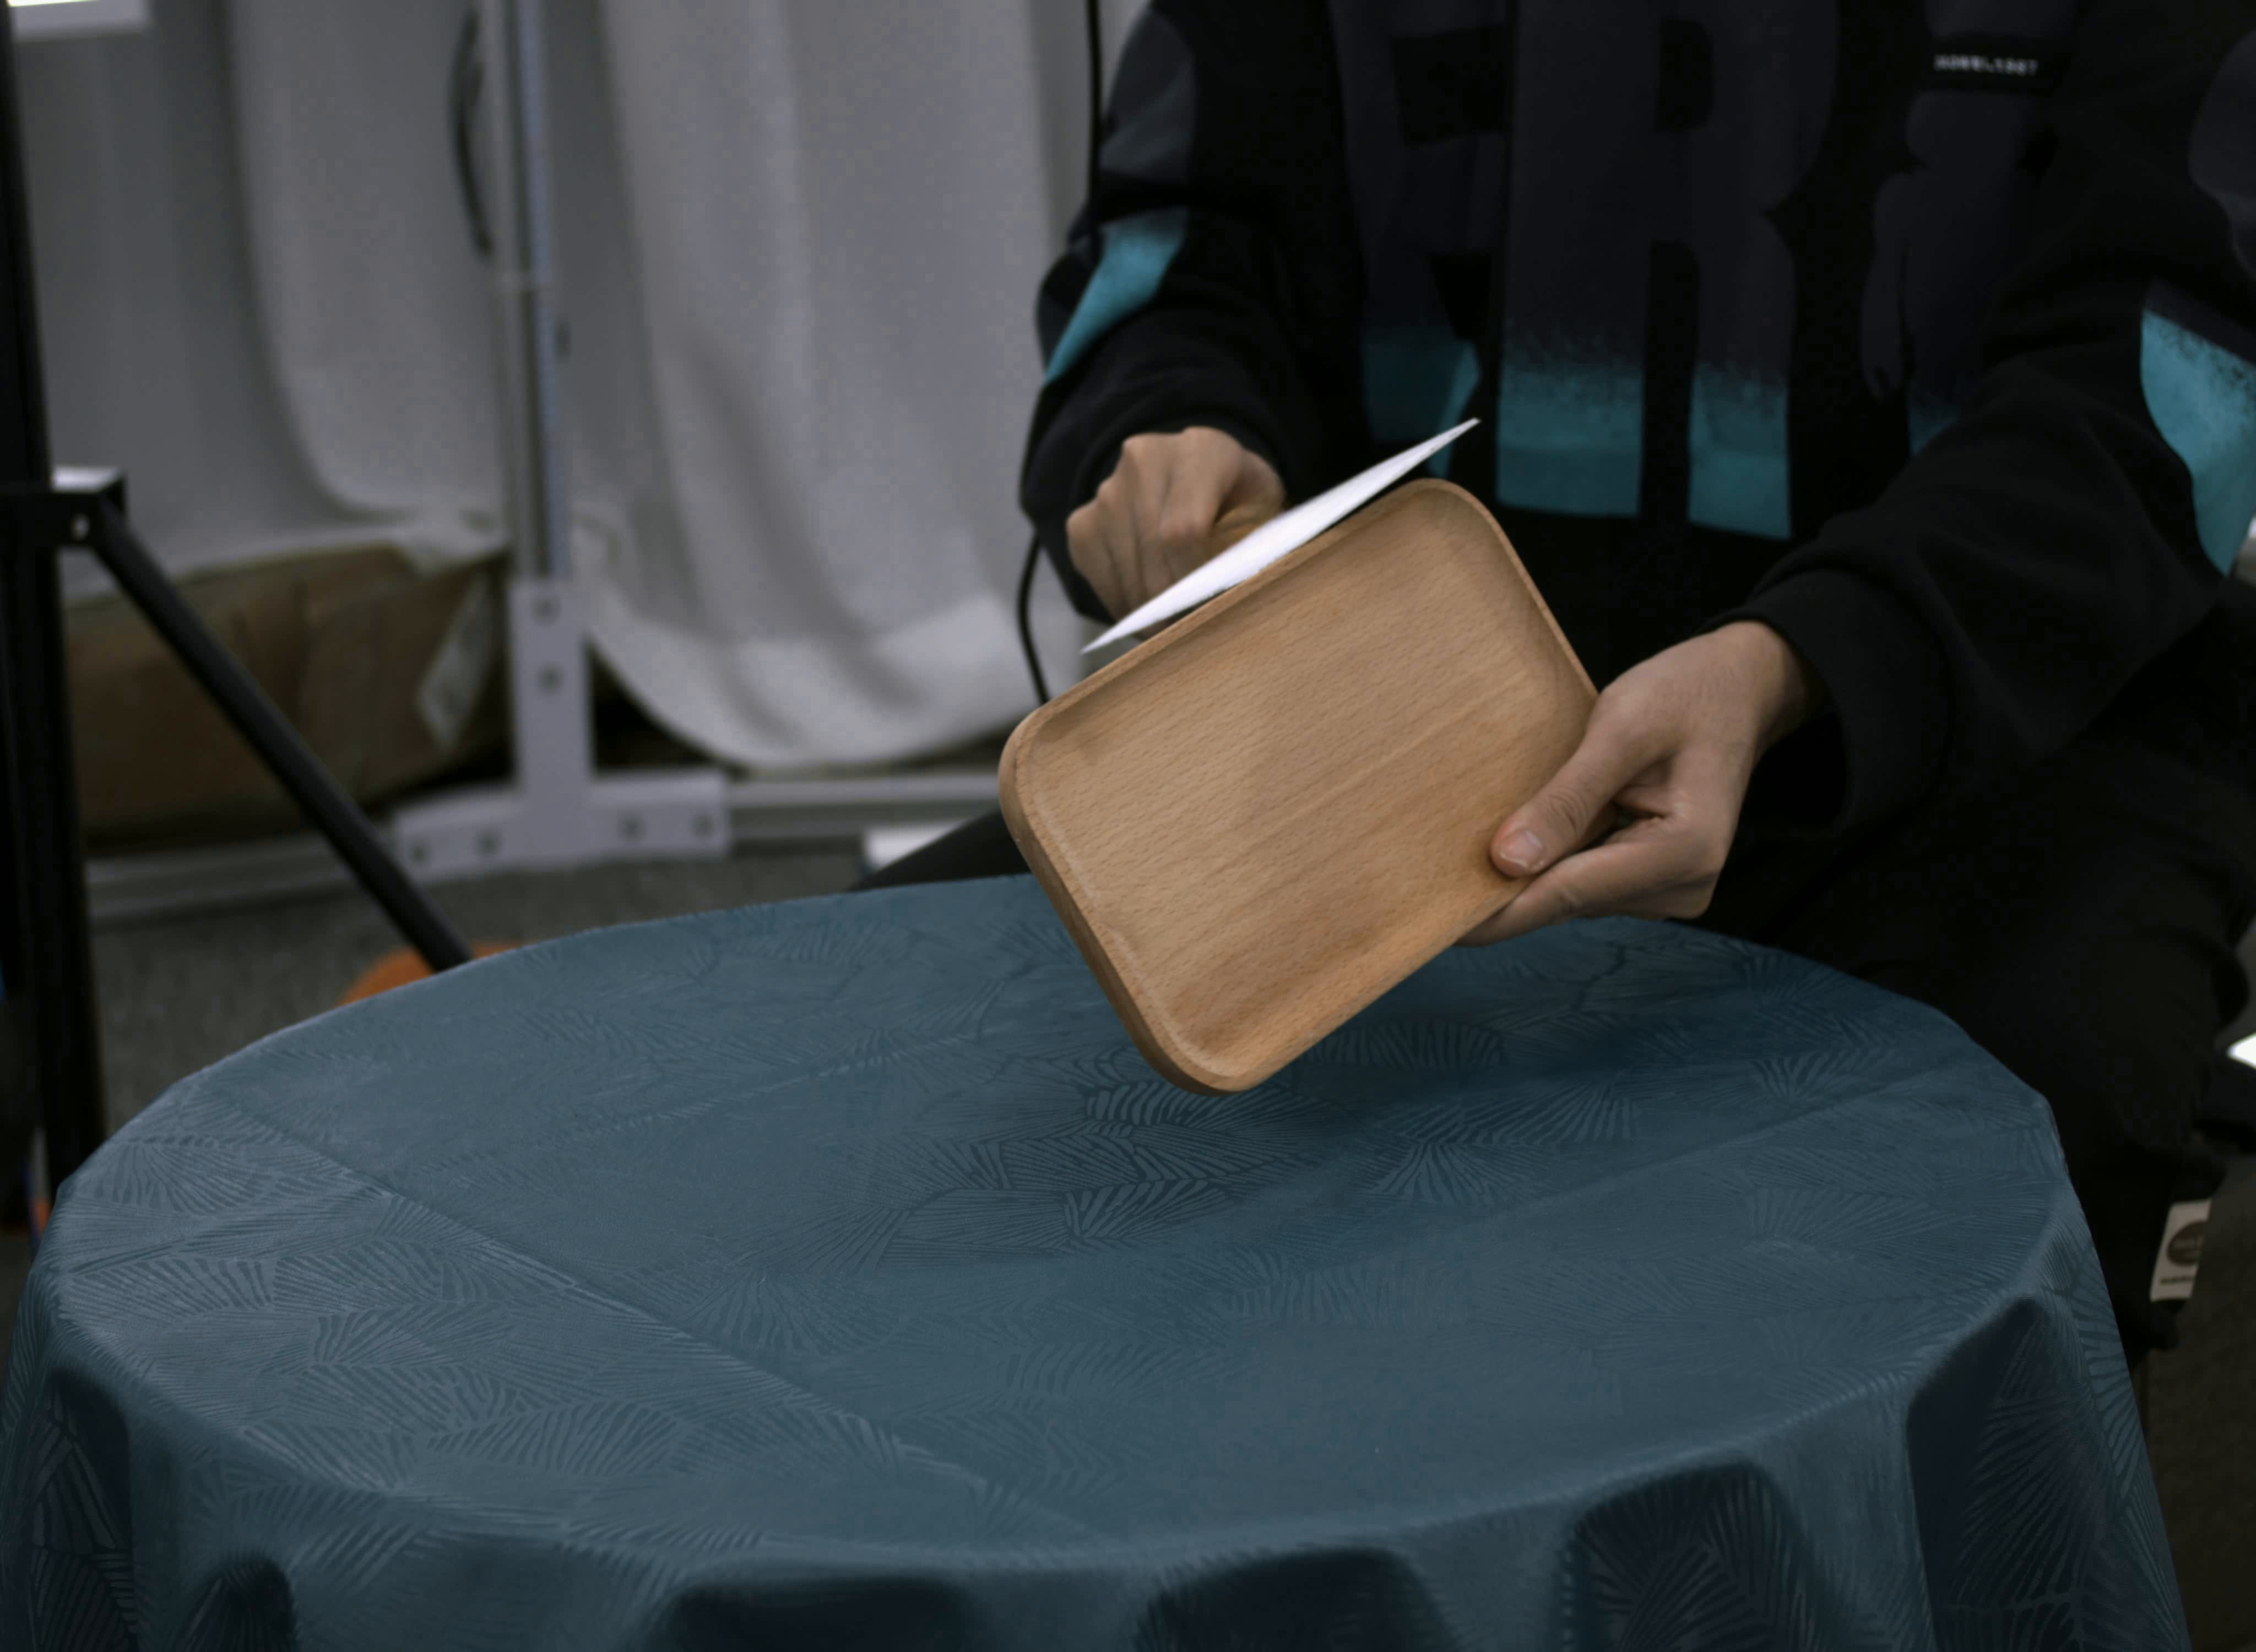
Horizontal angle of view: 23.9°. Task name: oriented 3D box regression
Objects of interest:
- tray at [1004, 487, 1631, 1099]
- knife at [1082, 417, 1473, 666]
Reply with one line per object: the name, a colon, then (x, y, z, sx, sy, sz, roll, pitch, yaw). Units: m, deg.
tray: (0.060, -0.013, 1.600, 0.023, 0.131, 0.246, -27, 2, 43)
knife: (0.030, -0.086, 1.782, 0.092, 0.021, 0.309, -37, 5, -18)
